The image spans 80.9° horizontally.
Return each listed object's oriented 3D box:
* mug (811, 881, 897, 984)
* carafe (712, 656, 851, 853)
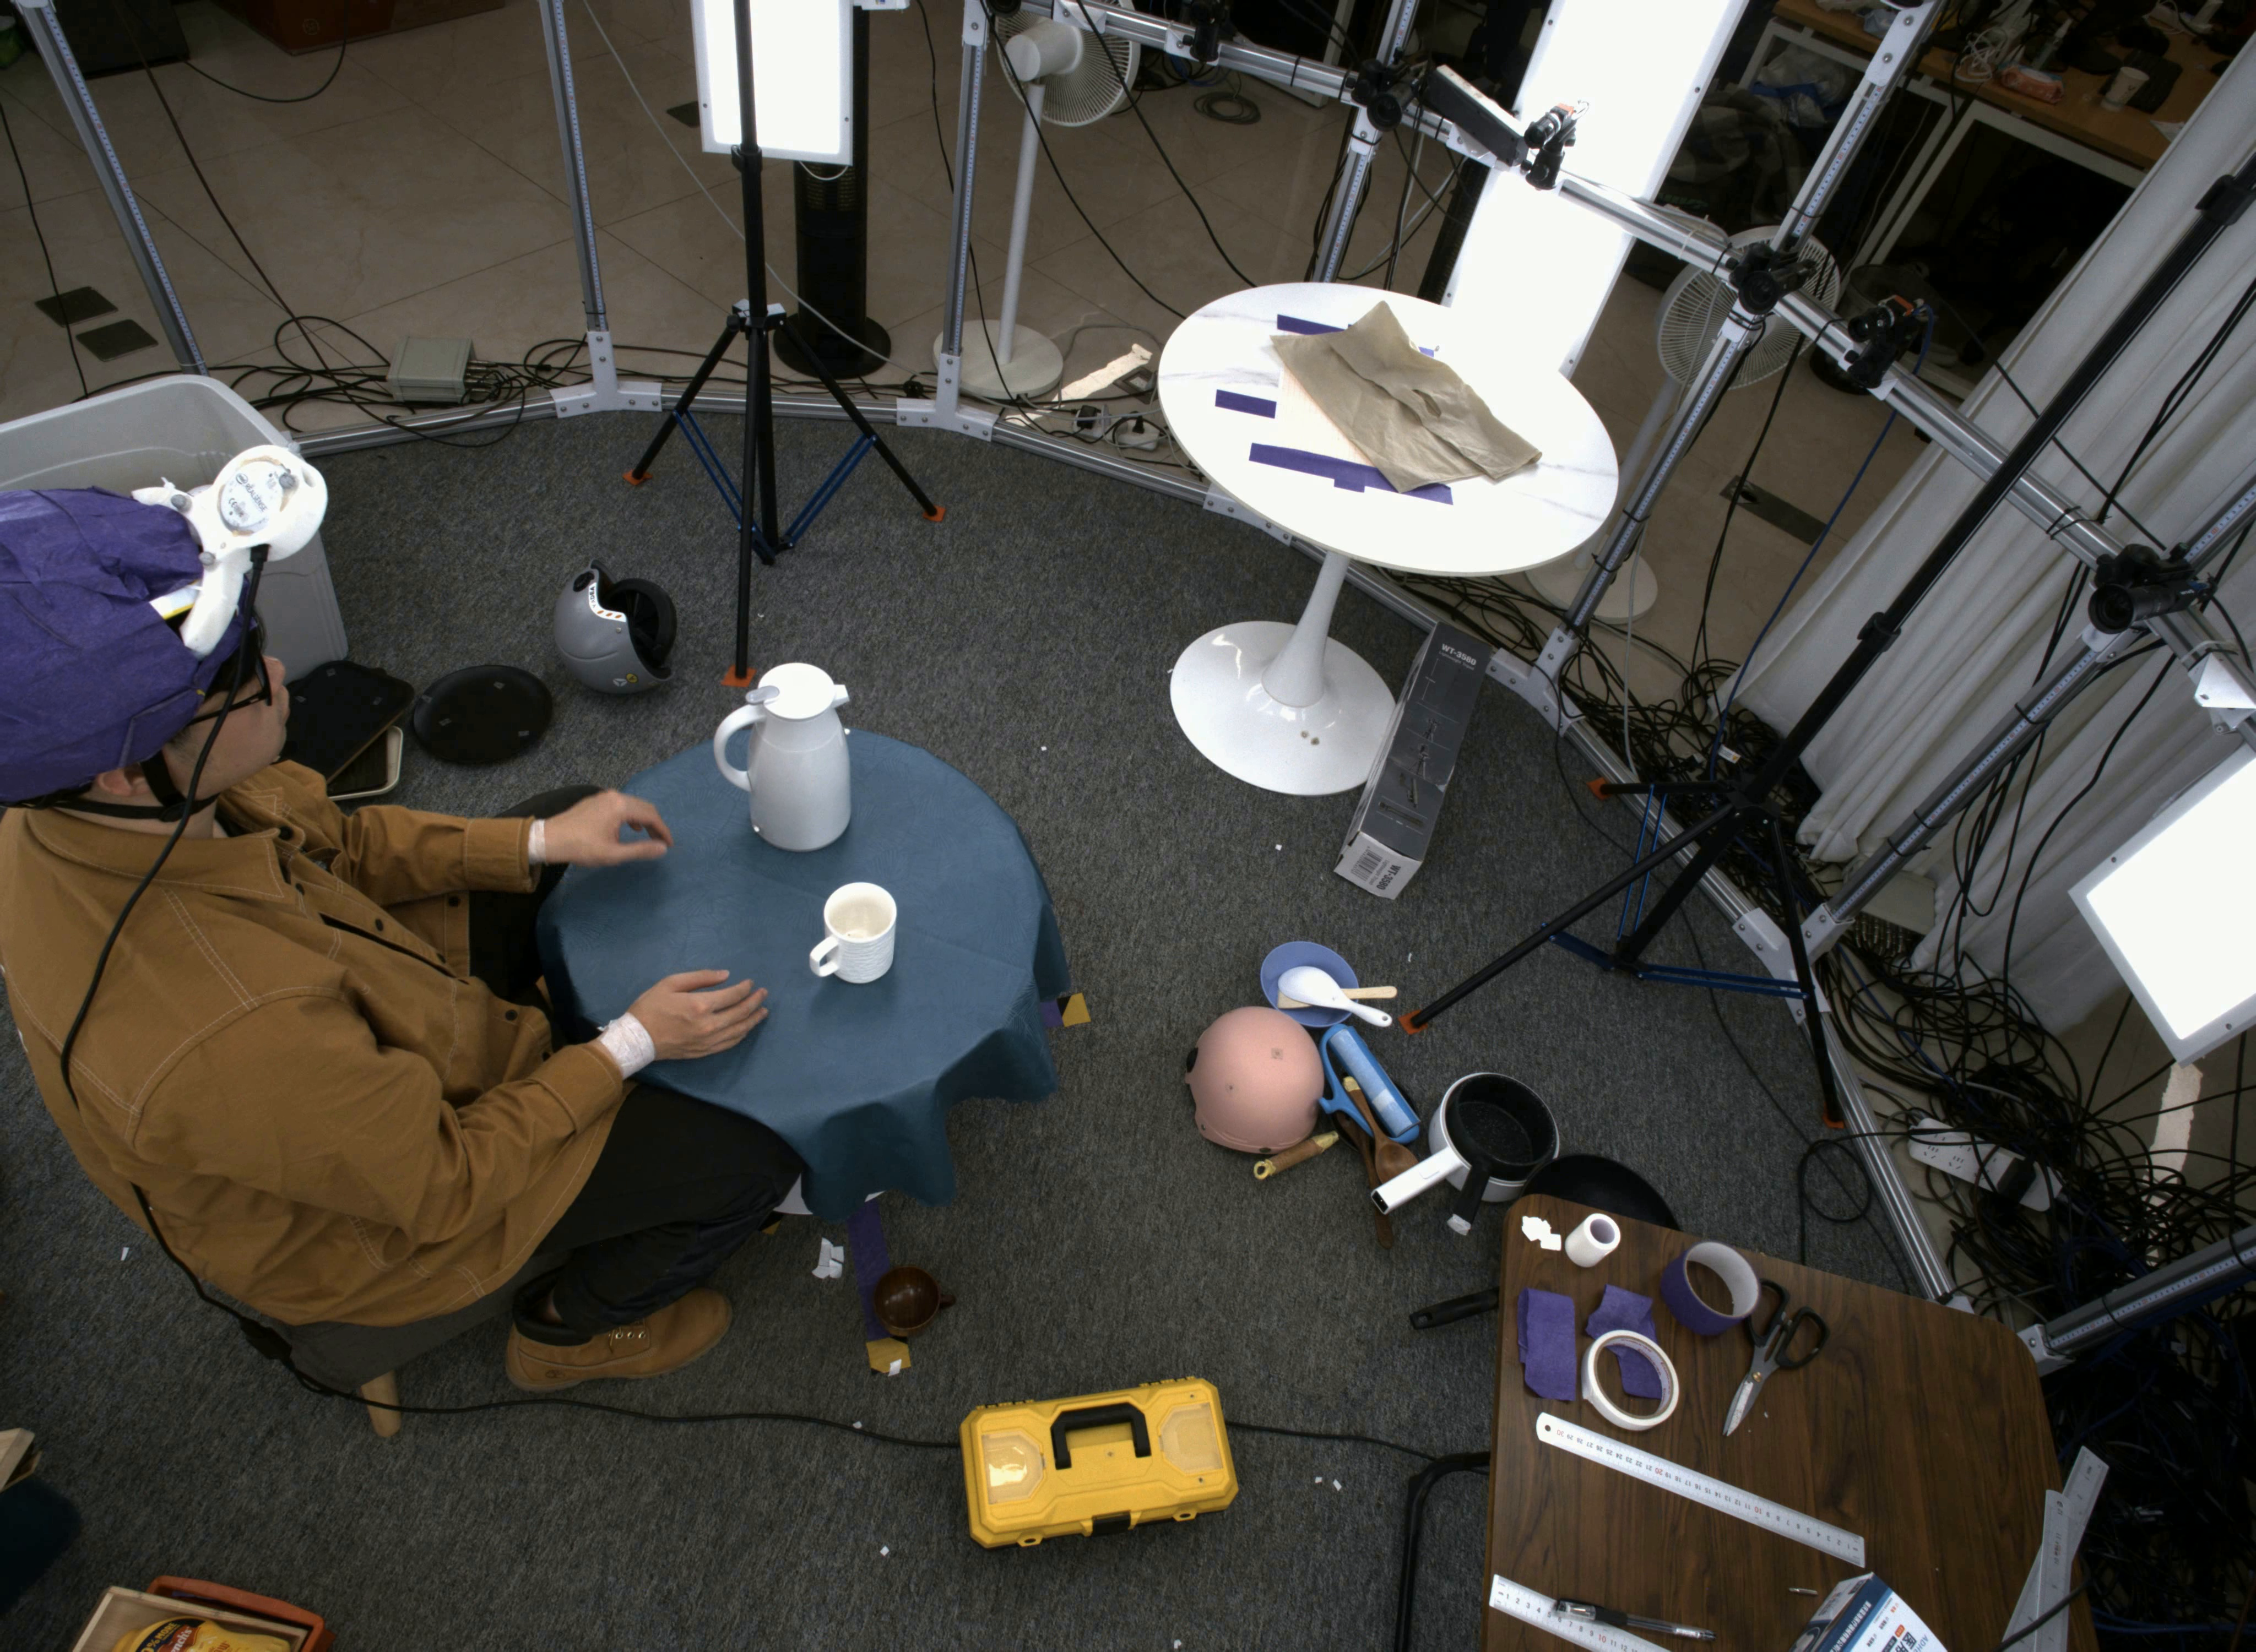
[{"bbox_3d":[-0.336,0.138,1.573,0.083,0.104,0.118,37,54,16],"label":"mug"},{"bbox_3d":[-0.435,-0.091,1.625,0.168,0.254,0.129,-14,57,-21],"label":"carafe"}]
